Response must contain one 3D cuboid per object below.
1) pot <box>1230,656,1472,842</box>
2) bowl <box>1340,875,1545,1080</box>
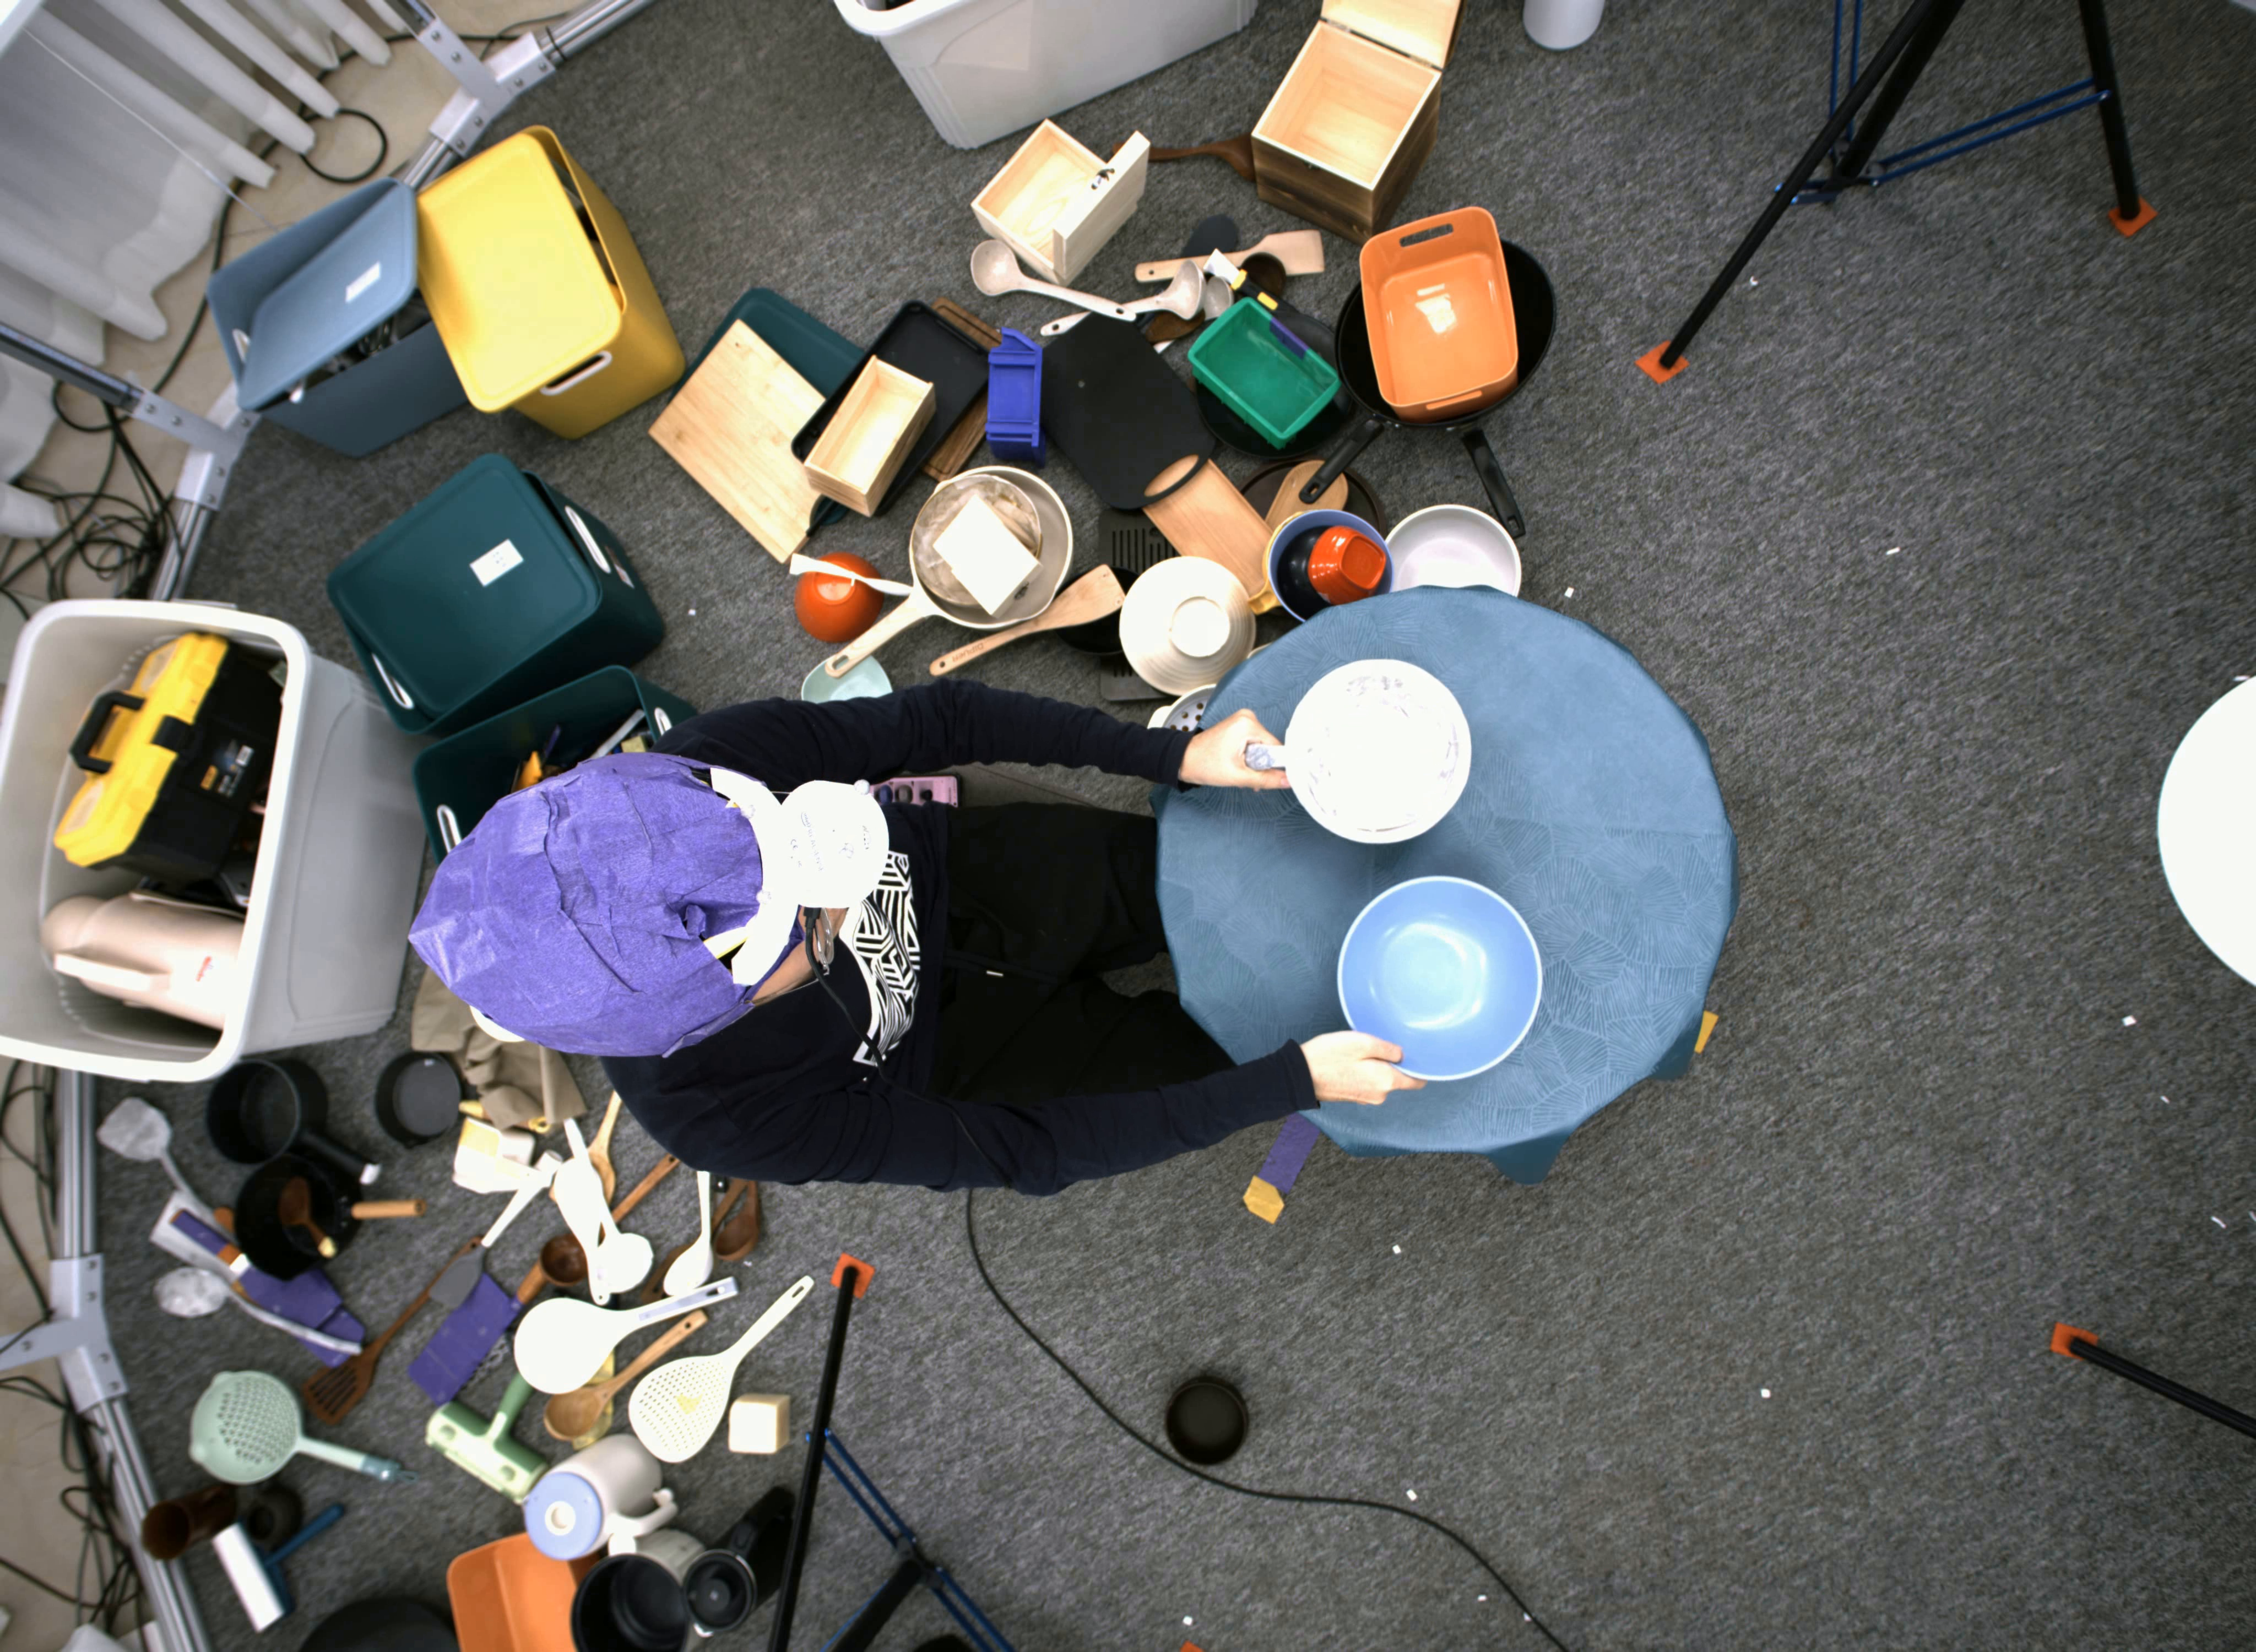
[{"bbox_3d":[0.218,-0.072,1.379,0.234,0.136,0.178,-4,90,7],"label":"pot"},{"bbox_3d":[0.303,0.146,1.367,0.197,0.095,0.196,0,90,2],"label":"bowl"}]
